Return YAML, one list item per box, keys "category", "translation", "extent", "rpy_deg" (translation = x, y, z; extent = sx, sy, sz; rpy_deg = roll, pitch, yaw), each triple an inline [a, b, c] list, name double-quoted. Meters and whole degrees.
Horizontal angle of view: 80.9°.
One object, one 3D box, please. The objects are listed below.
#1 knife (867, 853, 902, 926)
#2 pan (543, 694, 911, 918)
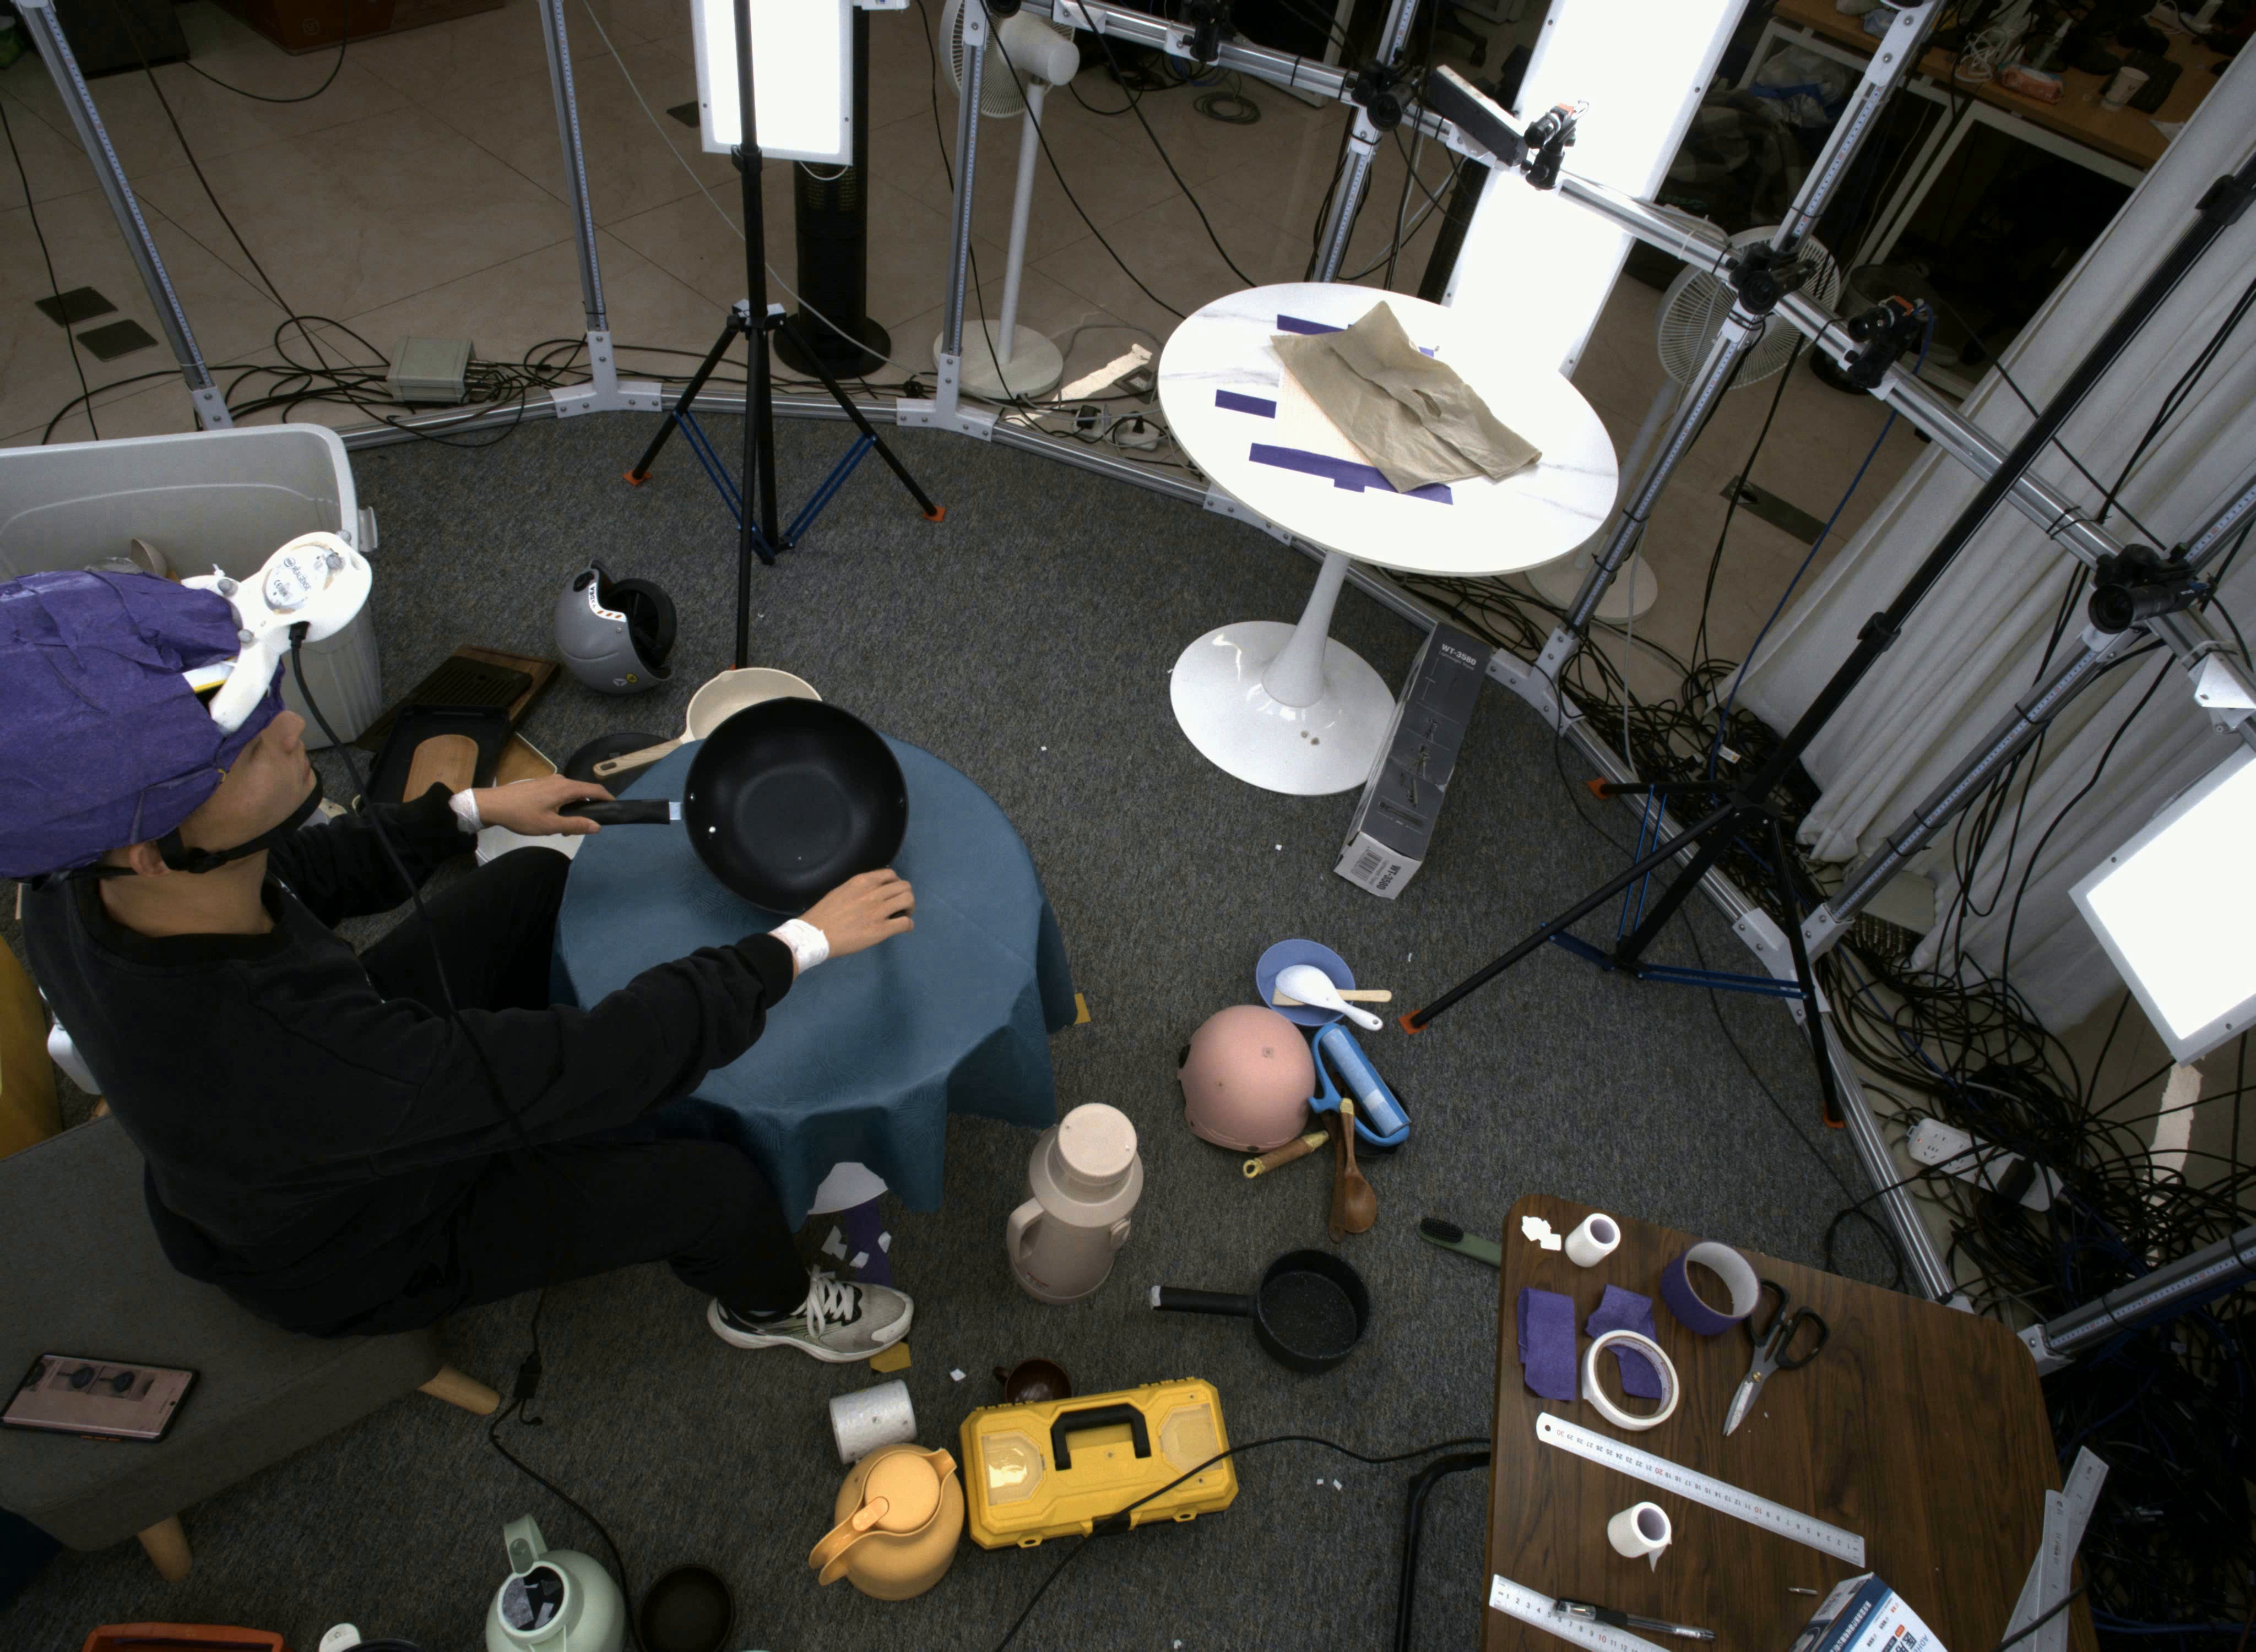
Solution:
- category: "knife"
  translation: [-0.298, 0.070, 1.582]
  extent: [0.026, 0.018, 0.218]
  rpy_deg: [-24, 25, -8]
- category: "pan"
  translation: [-0.507, -0.014, 1.619]
  extent: [0.466, 0.086, 0.288]
  rpy_deg: [-3, 77, -20]
